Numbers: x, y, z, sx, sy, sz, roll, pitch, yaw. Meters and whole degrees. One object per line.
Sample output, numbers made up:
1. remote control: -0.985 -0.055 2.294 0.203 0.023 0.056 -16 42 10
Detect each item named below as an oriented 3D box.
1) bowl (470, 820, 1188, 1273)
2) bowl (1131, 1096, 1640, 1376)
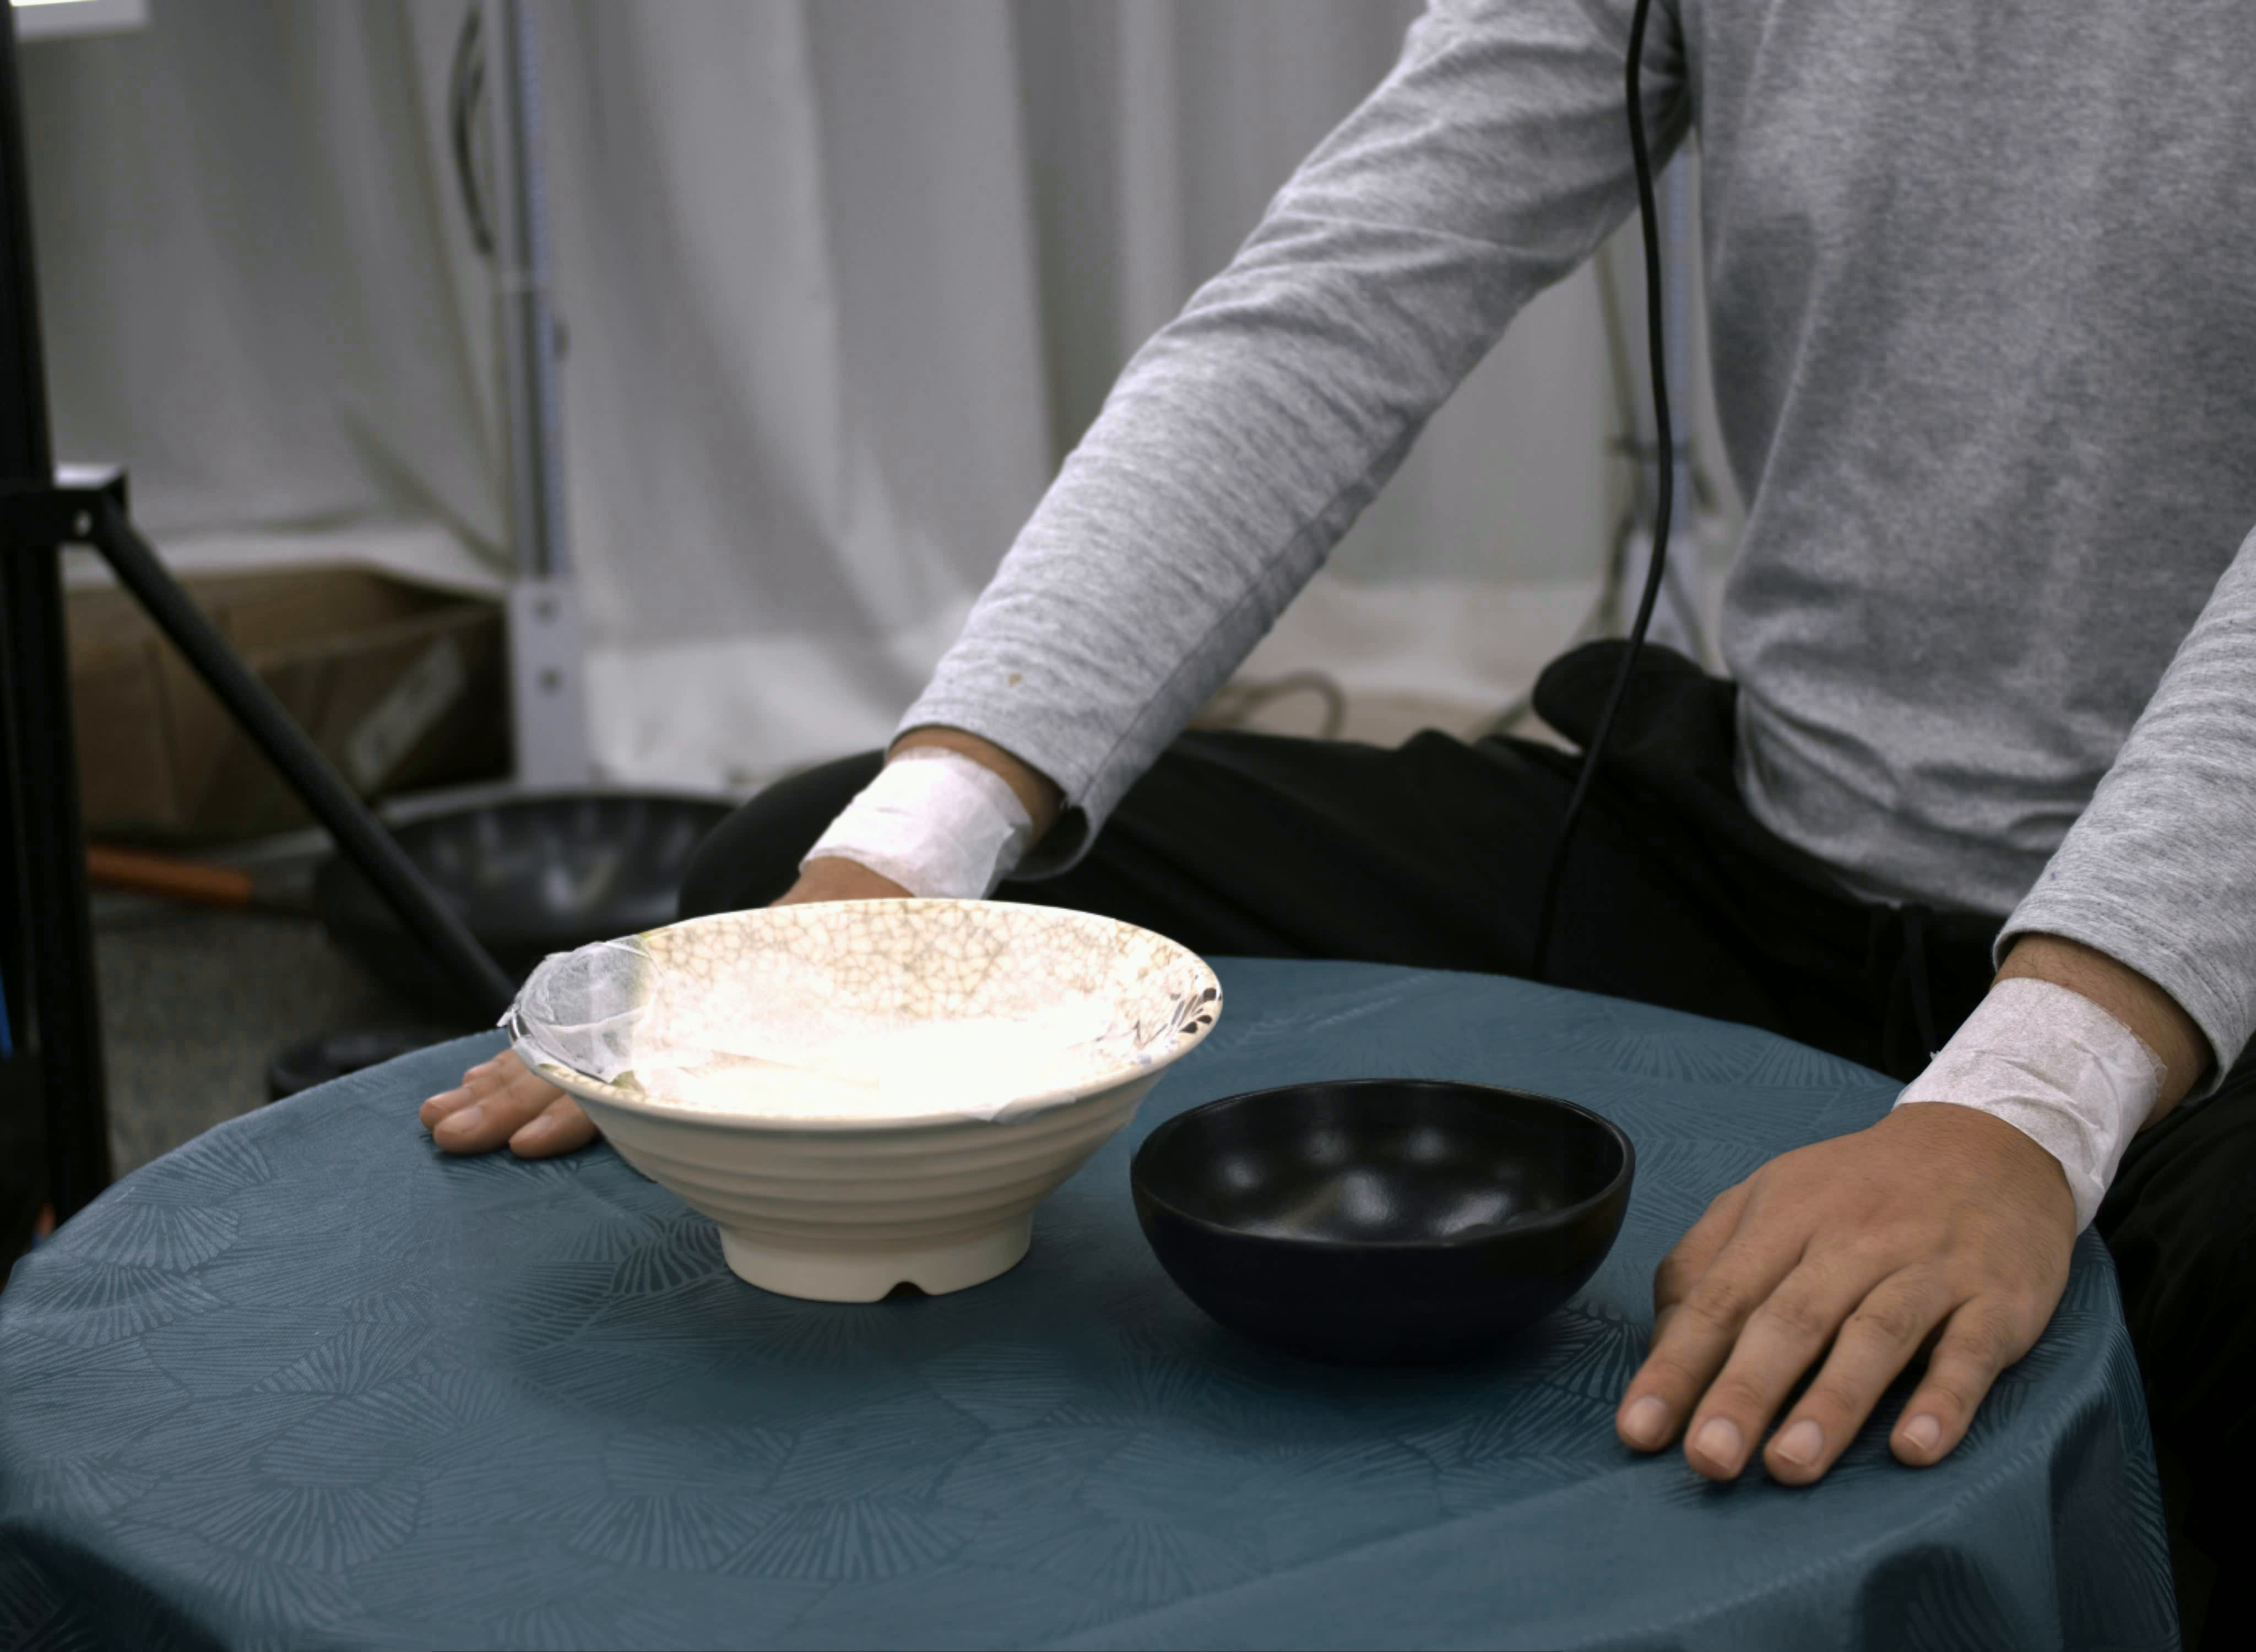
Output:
1. bowl: -0.082 0.073 1.515 0.203 0.078 0.205 -5 22 1
2. bowl: 0.069 0.116 1.444 0.139 0.050 0.140 2 13 -2
